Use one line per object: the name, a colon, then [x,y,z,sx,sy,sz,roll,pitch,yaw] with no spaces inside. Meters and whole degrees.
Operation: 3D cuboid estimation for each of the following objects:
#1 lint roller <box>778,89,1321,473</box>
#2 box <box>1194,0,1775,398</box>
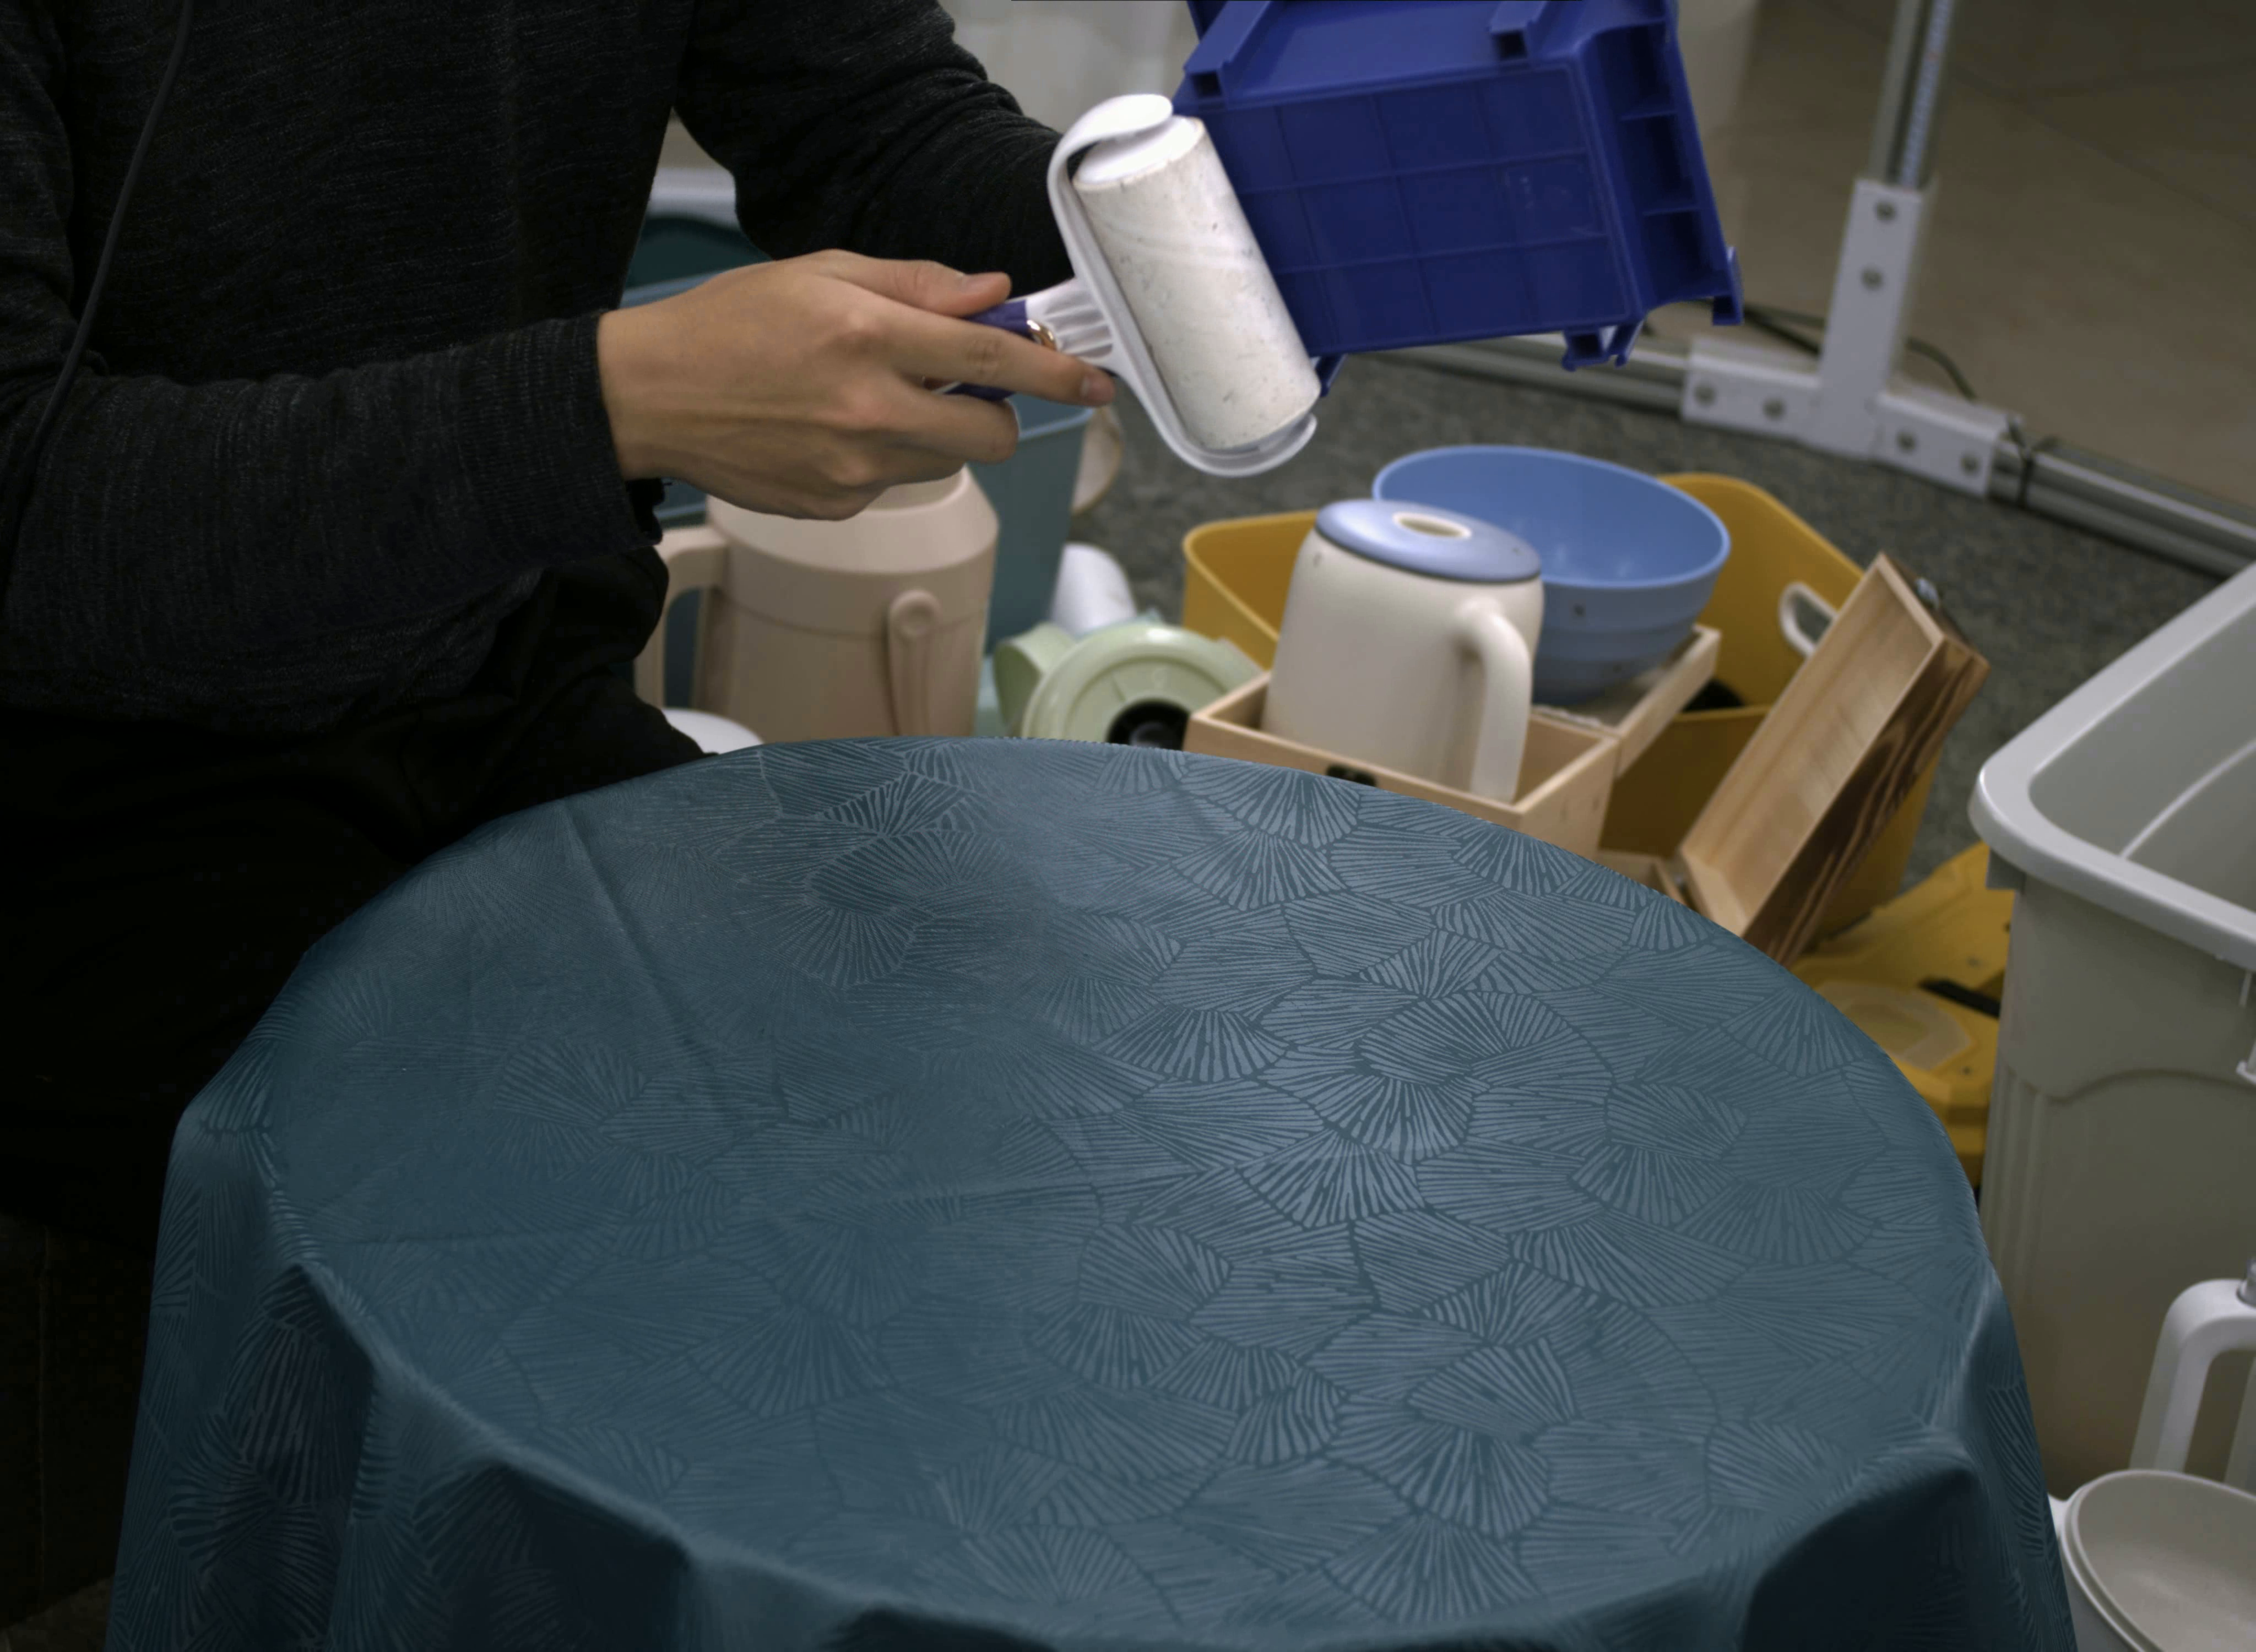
lint roller: [-0.038,-0.158,1.749,0.181,0.132,0.050,-18,25,15]
box: [0.116,-0.220,1.746,0.179,0.124,0.082,-7,28,22]
